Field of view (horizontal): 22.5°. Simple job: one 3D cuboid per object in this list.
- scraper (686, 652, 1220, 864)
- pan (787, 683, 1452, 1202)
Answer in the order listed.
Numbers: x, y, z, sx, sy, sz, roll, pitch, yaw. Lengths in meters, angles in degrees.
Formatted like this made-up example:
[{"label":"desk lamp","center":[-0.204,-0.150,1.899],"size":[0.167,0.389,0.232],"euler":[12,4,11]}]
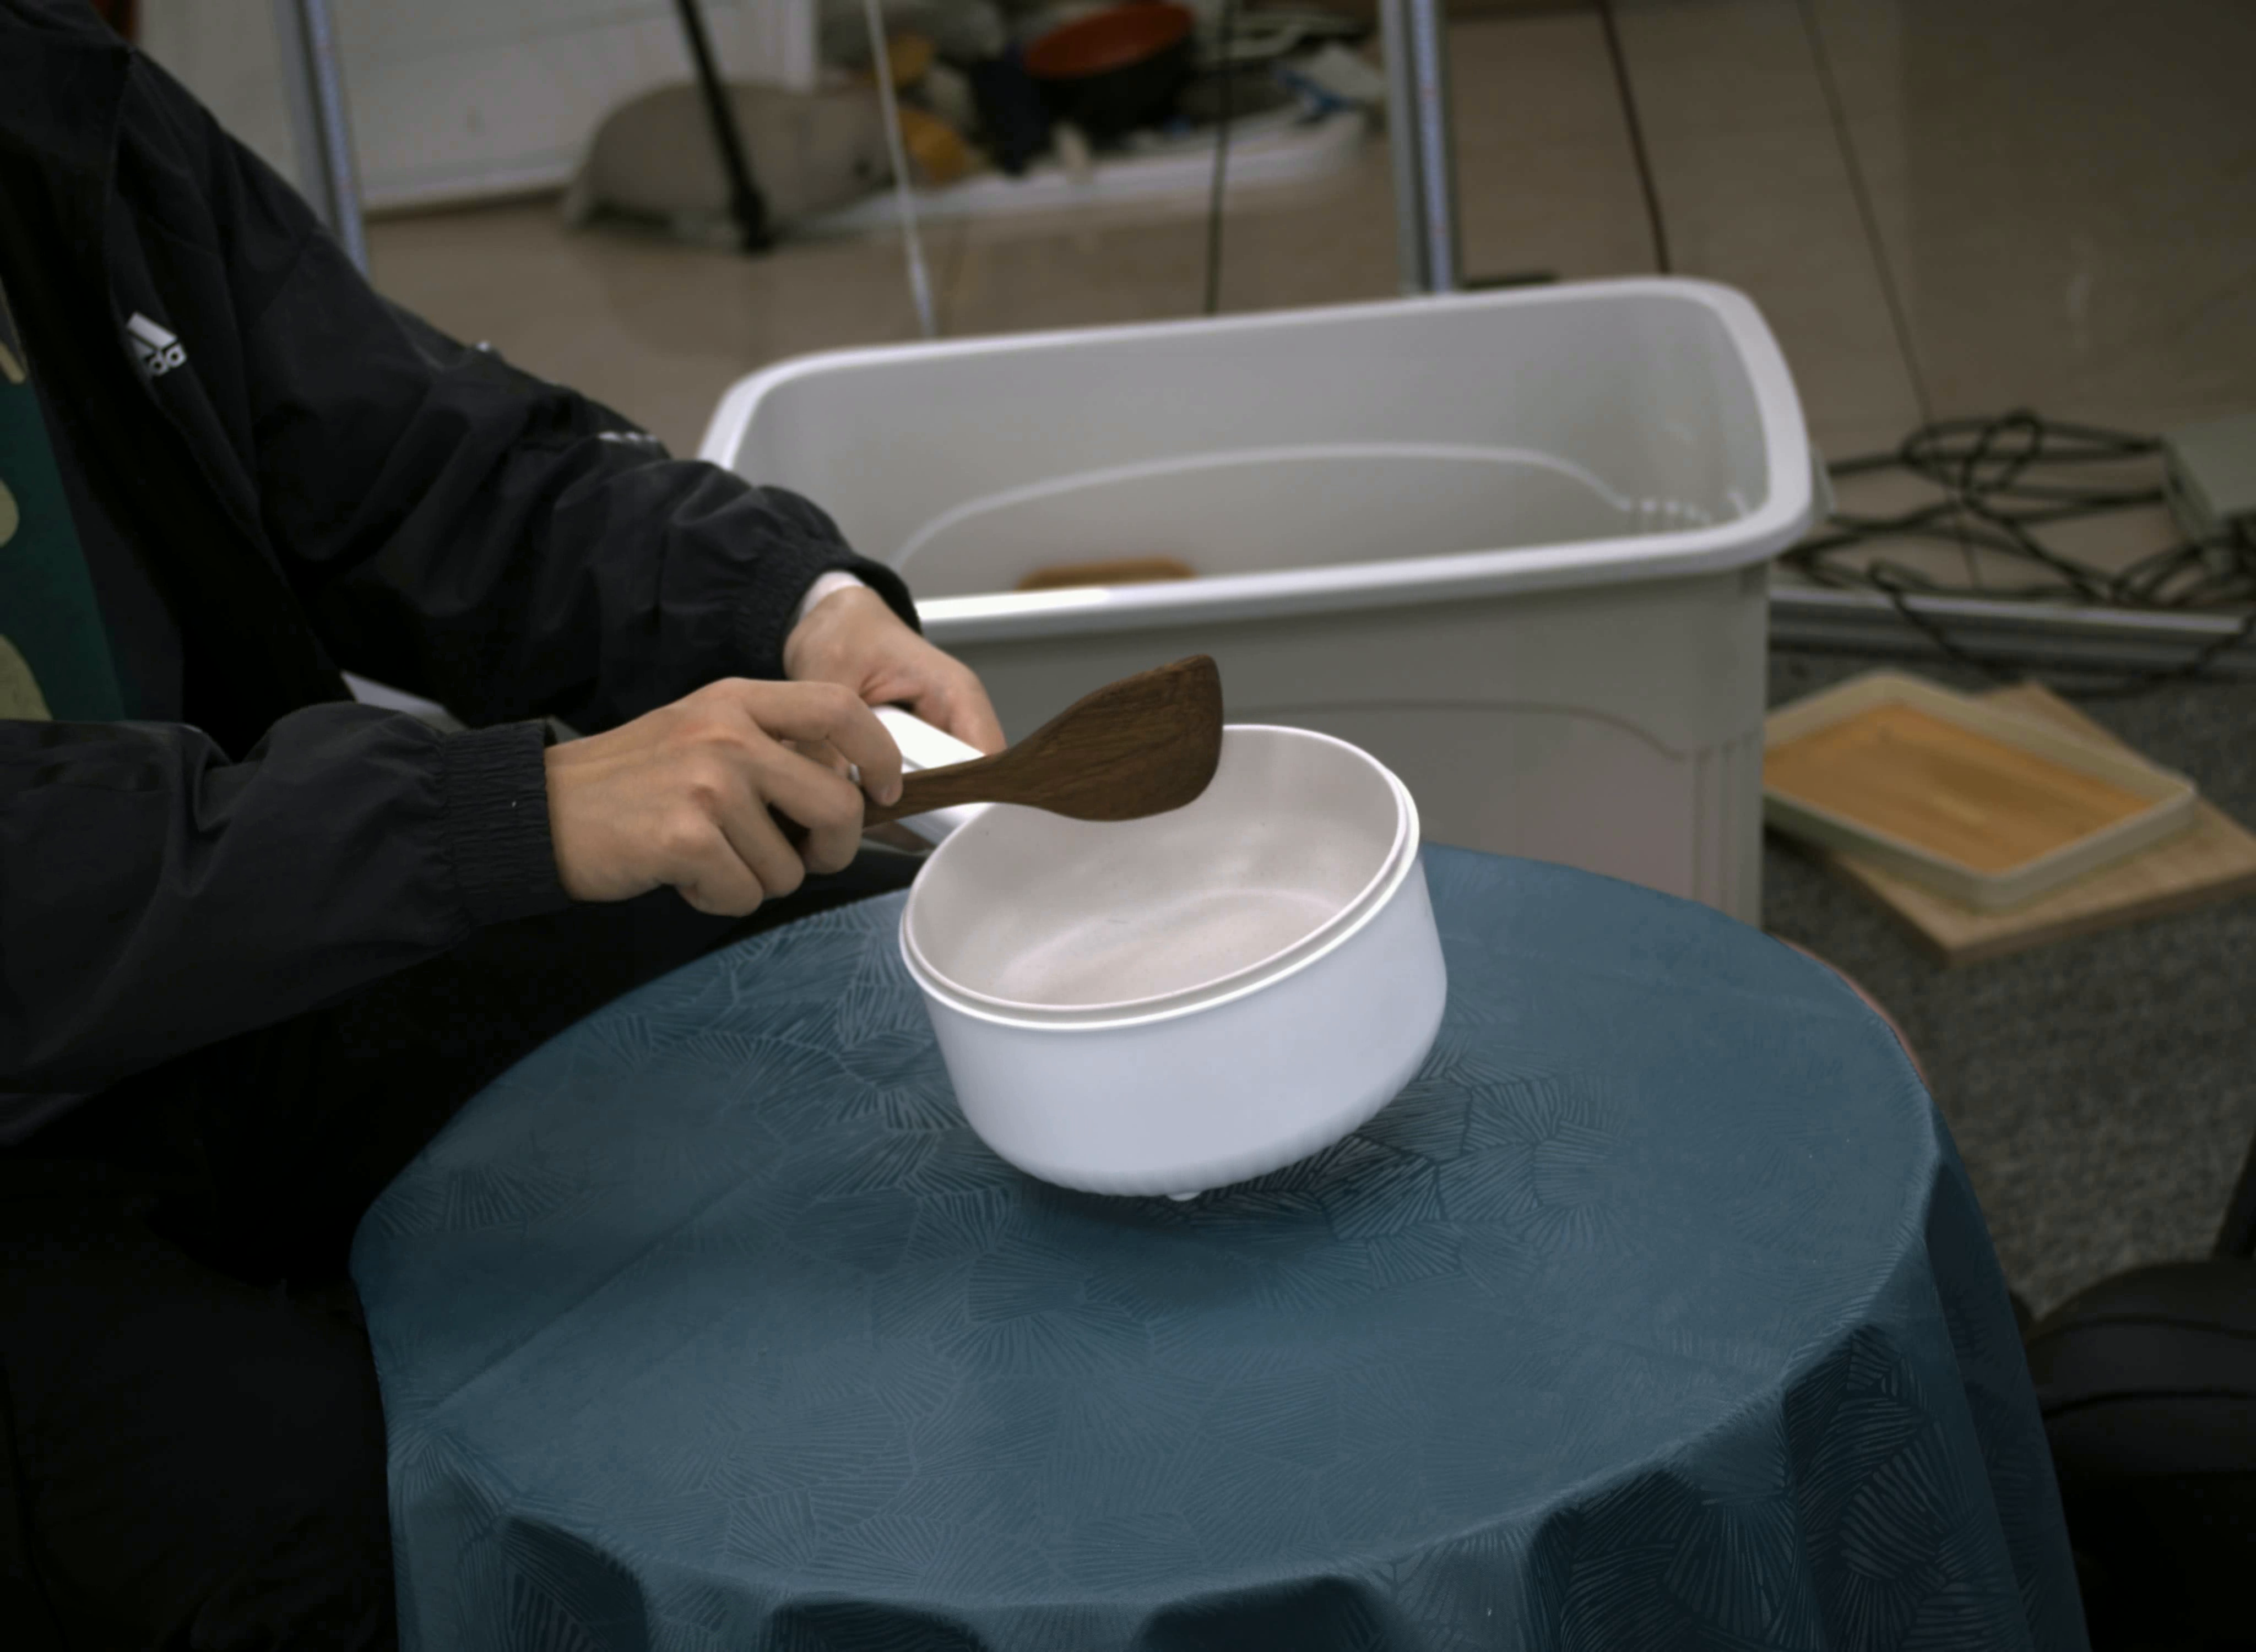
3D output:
[{"label":"scraper","center":[-0.065,-0.017,2.140],"size":[0.211,0.077,0.010],"euler":[-12,45,-11]},{"label":"pan","center":[-0.020,0.035,2.212],"size":[0.200,0.104,0.351],"euler":[-31,32,-23]}]
